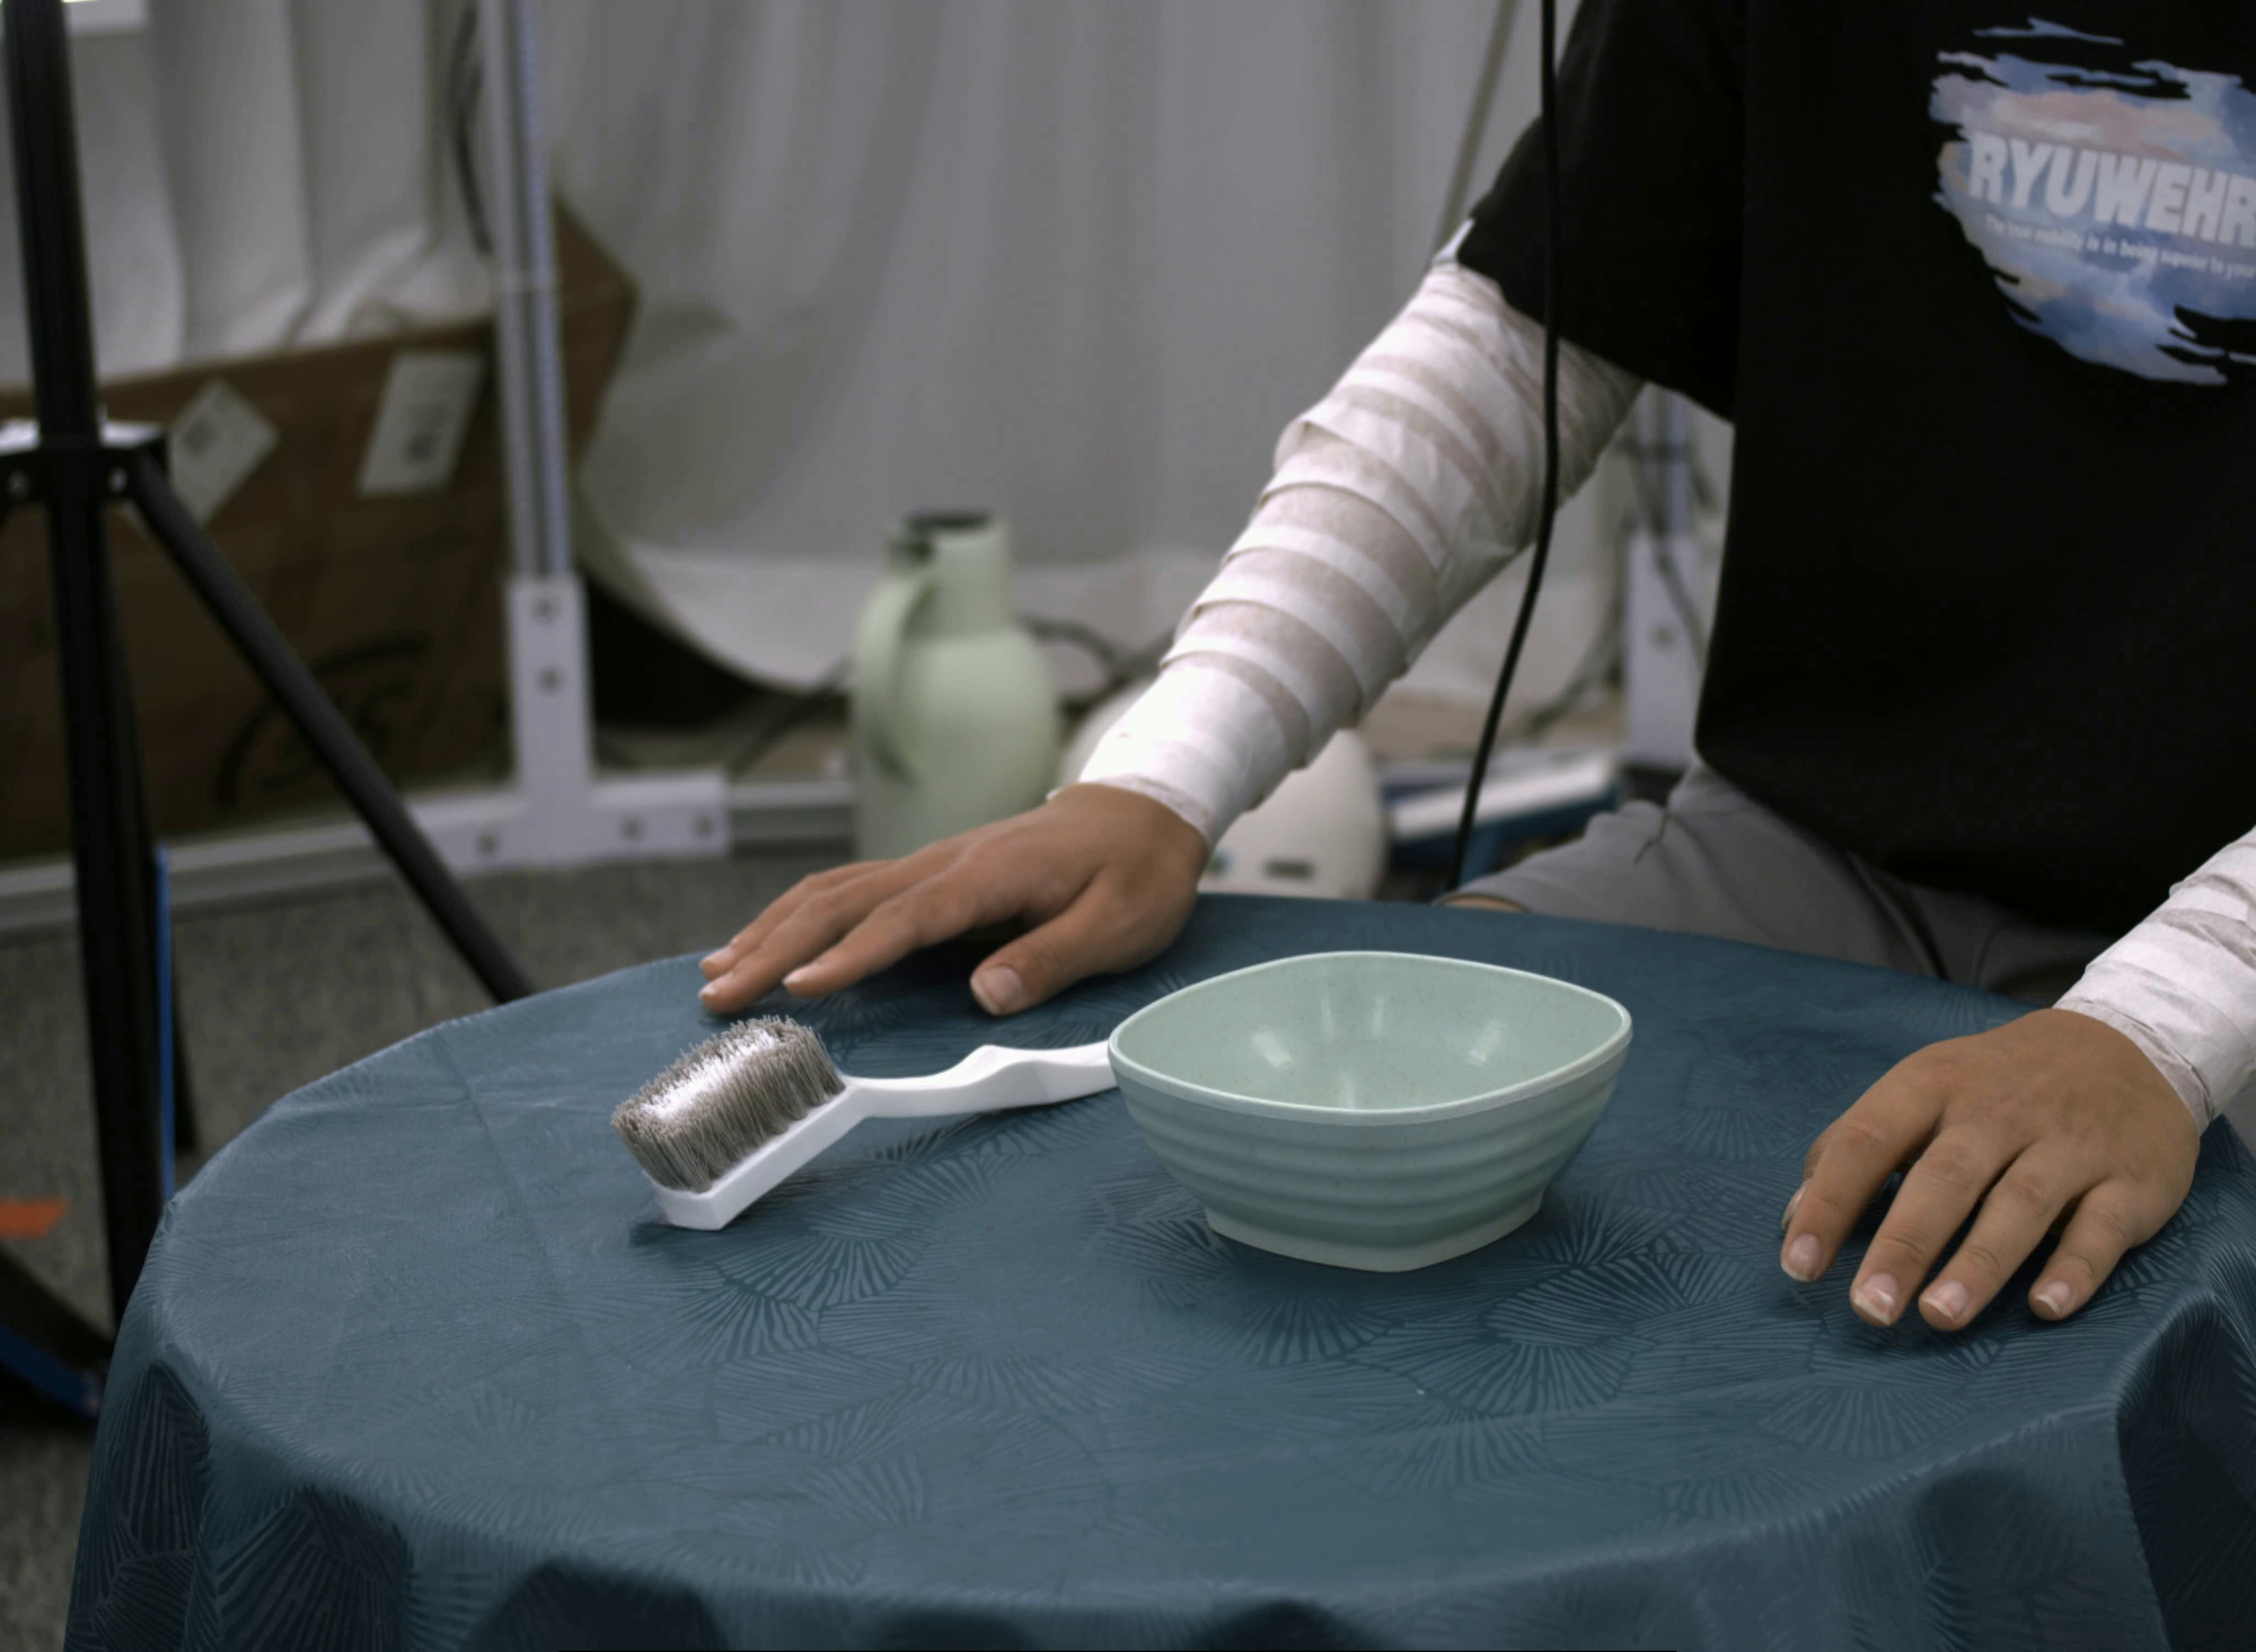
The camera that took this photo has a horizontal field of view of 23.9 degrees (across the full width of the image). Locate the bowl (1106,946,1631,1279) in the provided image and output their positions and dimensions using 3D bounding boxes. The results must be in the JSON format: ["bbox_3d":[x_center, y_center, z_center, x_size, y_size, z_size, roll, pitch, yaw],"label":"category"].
[{"bbox_3d":[0.070,0.086,1.525,0.150,0.058,0.152,-2,17,-1],"label":"bowl"}]

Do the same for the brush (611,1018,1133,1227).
[{"bbox_3d":[-0.053,0.069,1.613,0.238,0.050,0.035,-15,18,-38],"label":"brush"}]
